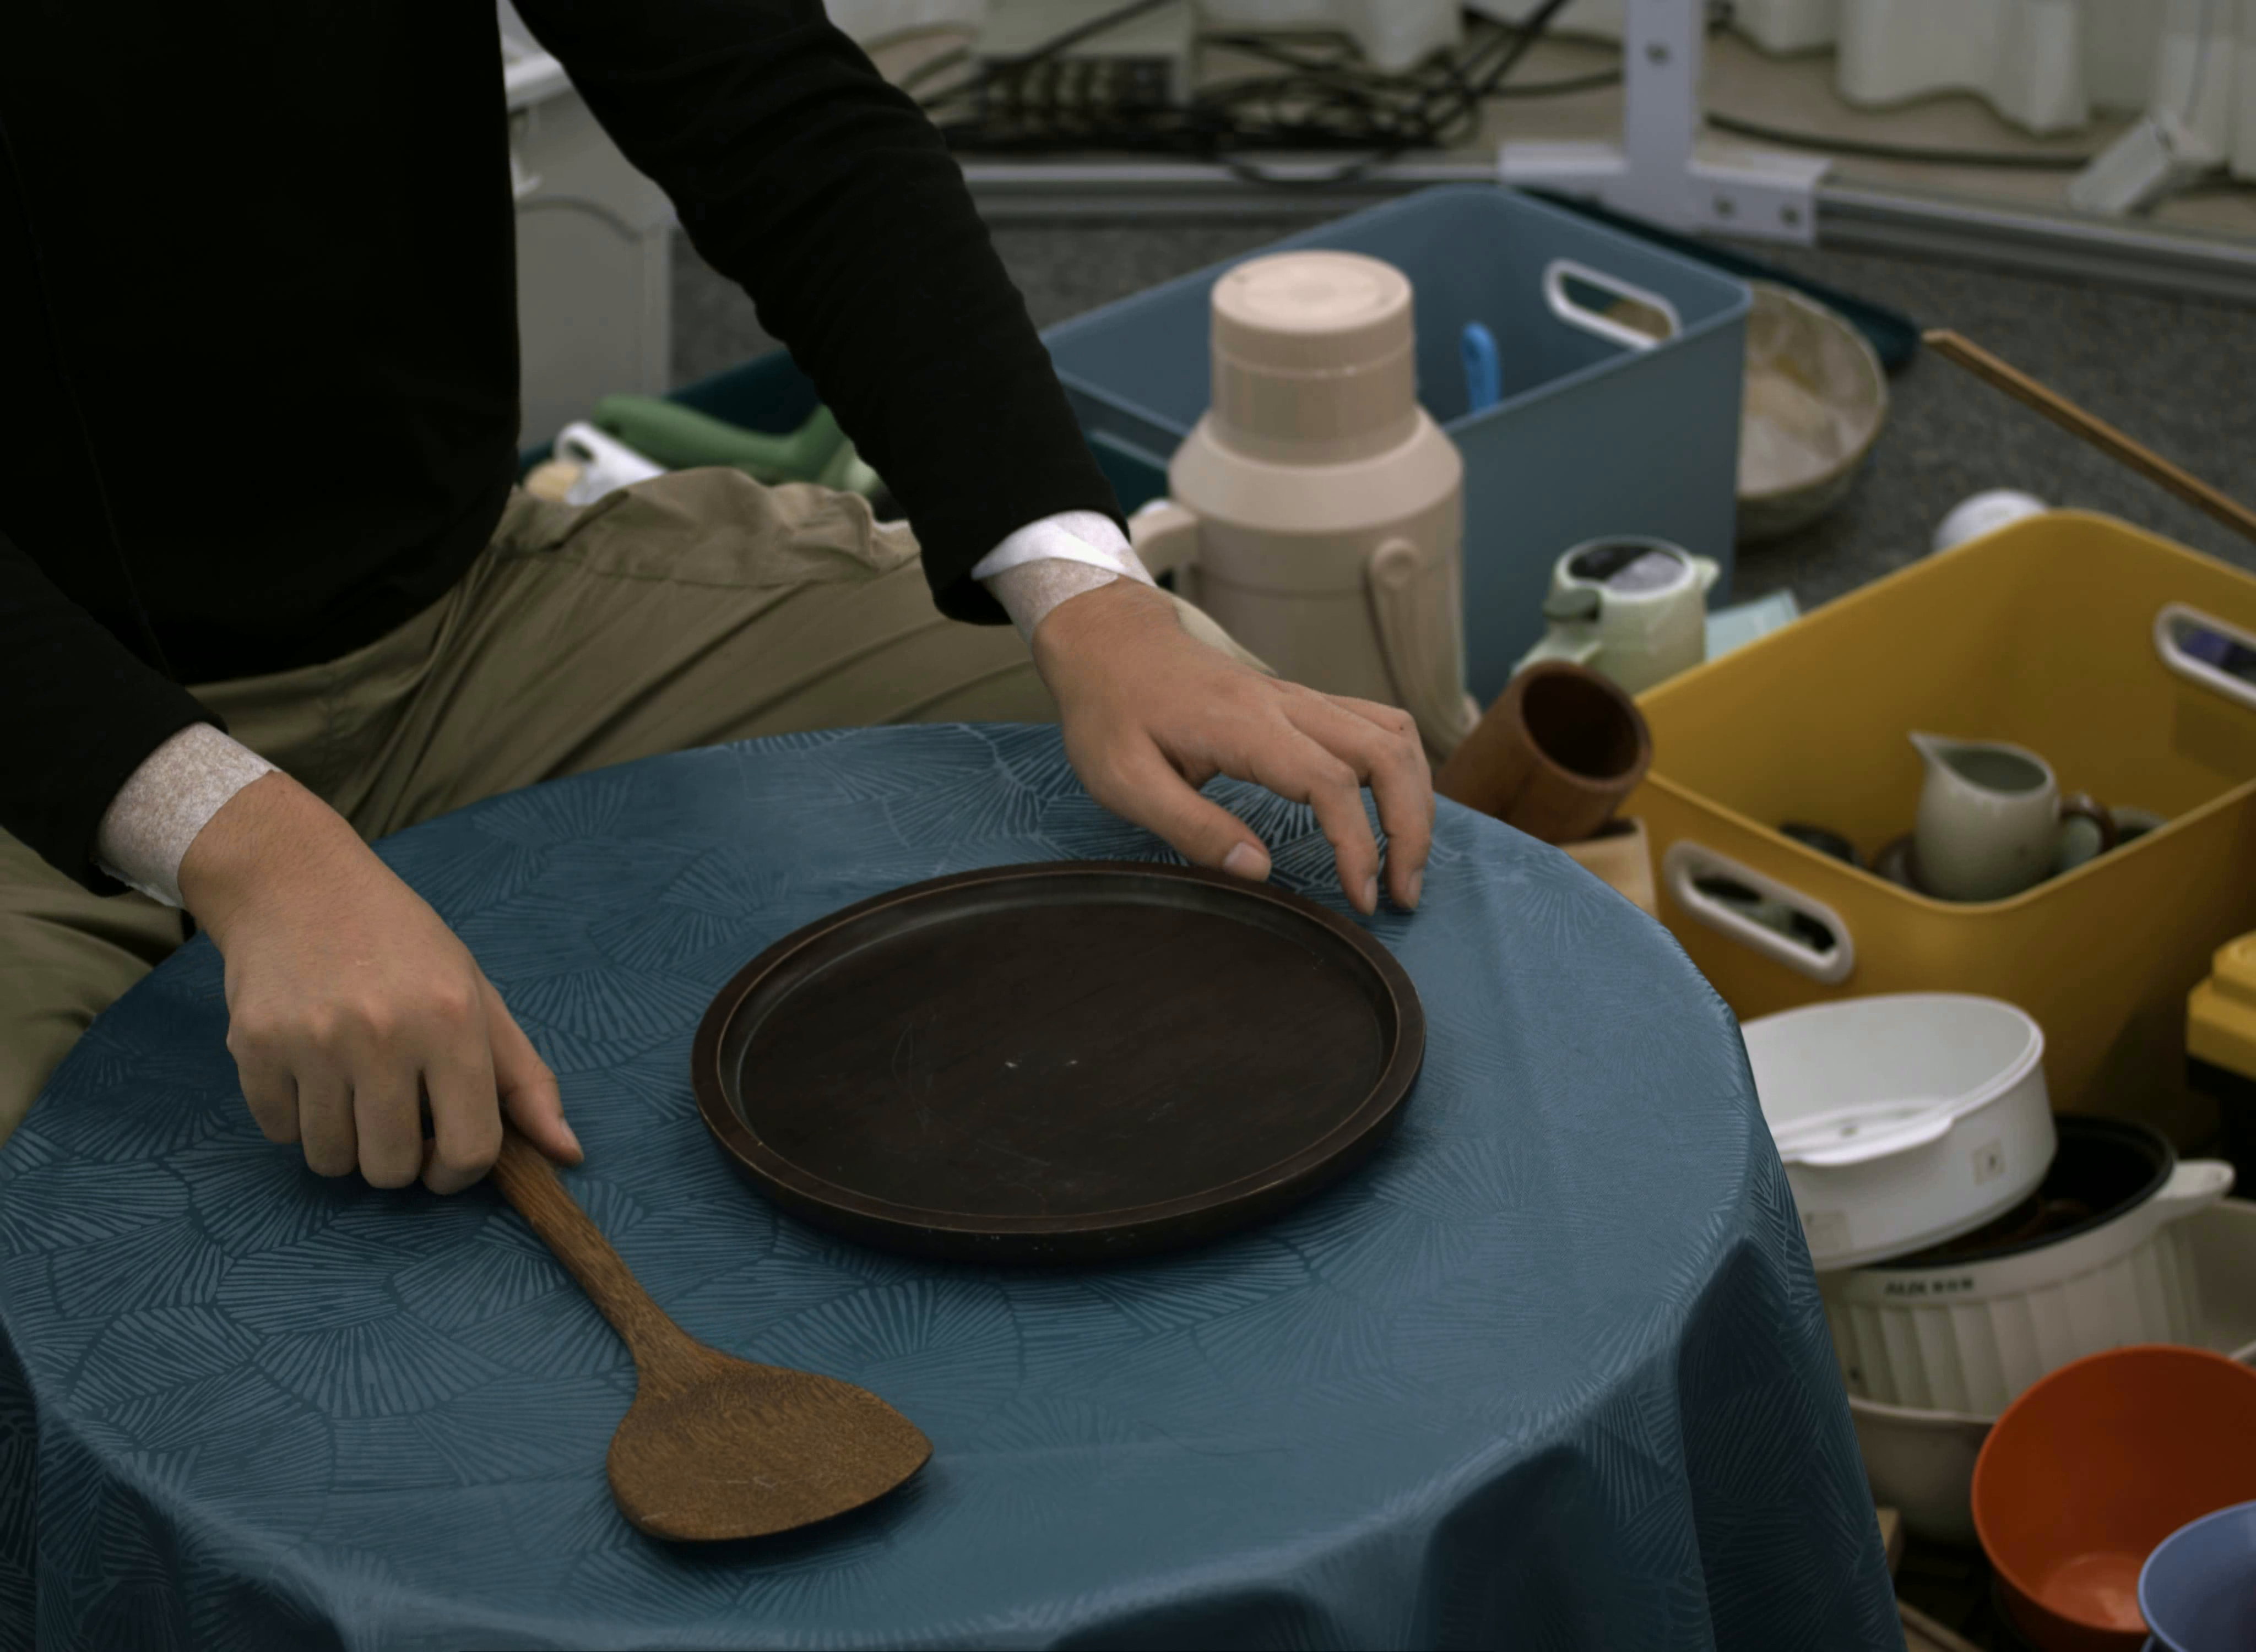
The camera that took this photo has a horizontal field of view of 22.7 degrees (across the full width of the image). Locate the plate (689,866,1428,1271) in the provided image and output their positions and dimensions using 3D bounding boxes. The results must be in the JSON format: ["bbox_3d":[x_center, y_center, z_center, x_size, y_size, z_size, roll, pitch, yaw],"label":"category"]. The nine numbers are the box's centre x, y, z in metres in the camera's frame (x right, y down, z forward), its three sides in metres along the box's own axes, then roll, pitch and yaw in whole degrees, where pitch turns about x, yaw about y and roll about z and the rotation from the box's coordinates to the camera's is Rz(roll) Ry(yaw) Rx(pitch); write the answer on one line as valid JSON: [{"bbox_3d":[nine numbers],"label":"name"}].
[{"bbox_3d":[-0.023,0.080,1.917,0.253,0.029,0.259,-3,28,2],"label":"plate"}]

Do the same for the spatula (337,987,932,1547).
[{"bbox_3d":[-0.182,0.134,1.834,0.096,0.015,0.388,-15,31,-24],"label":"spatula"}]
